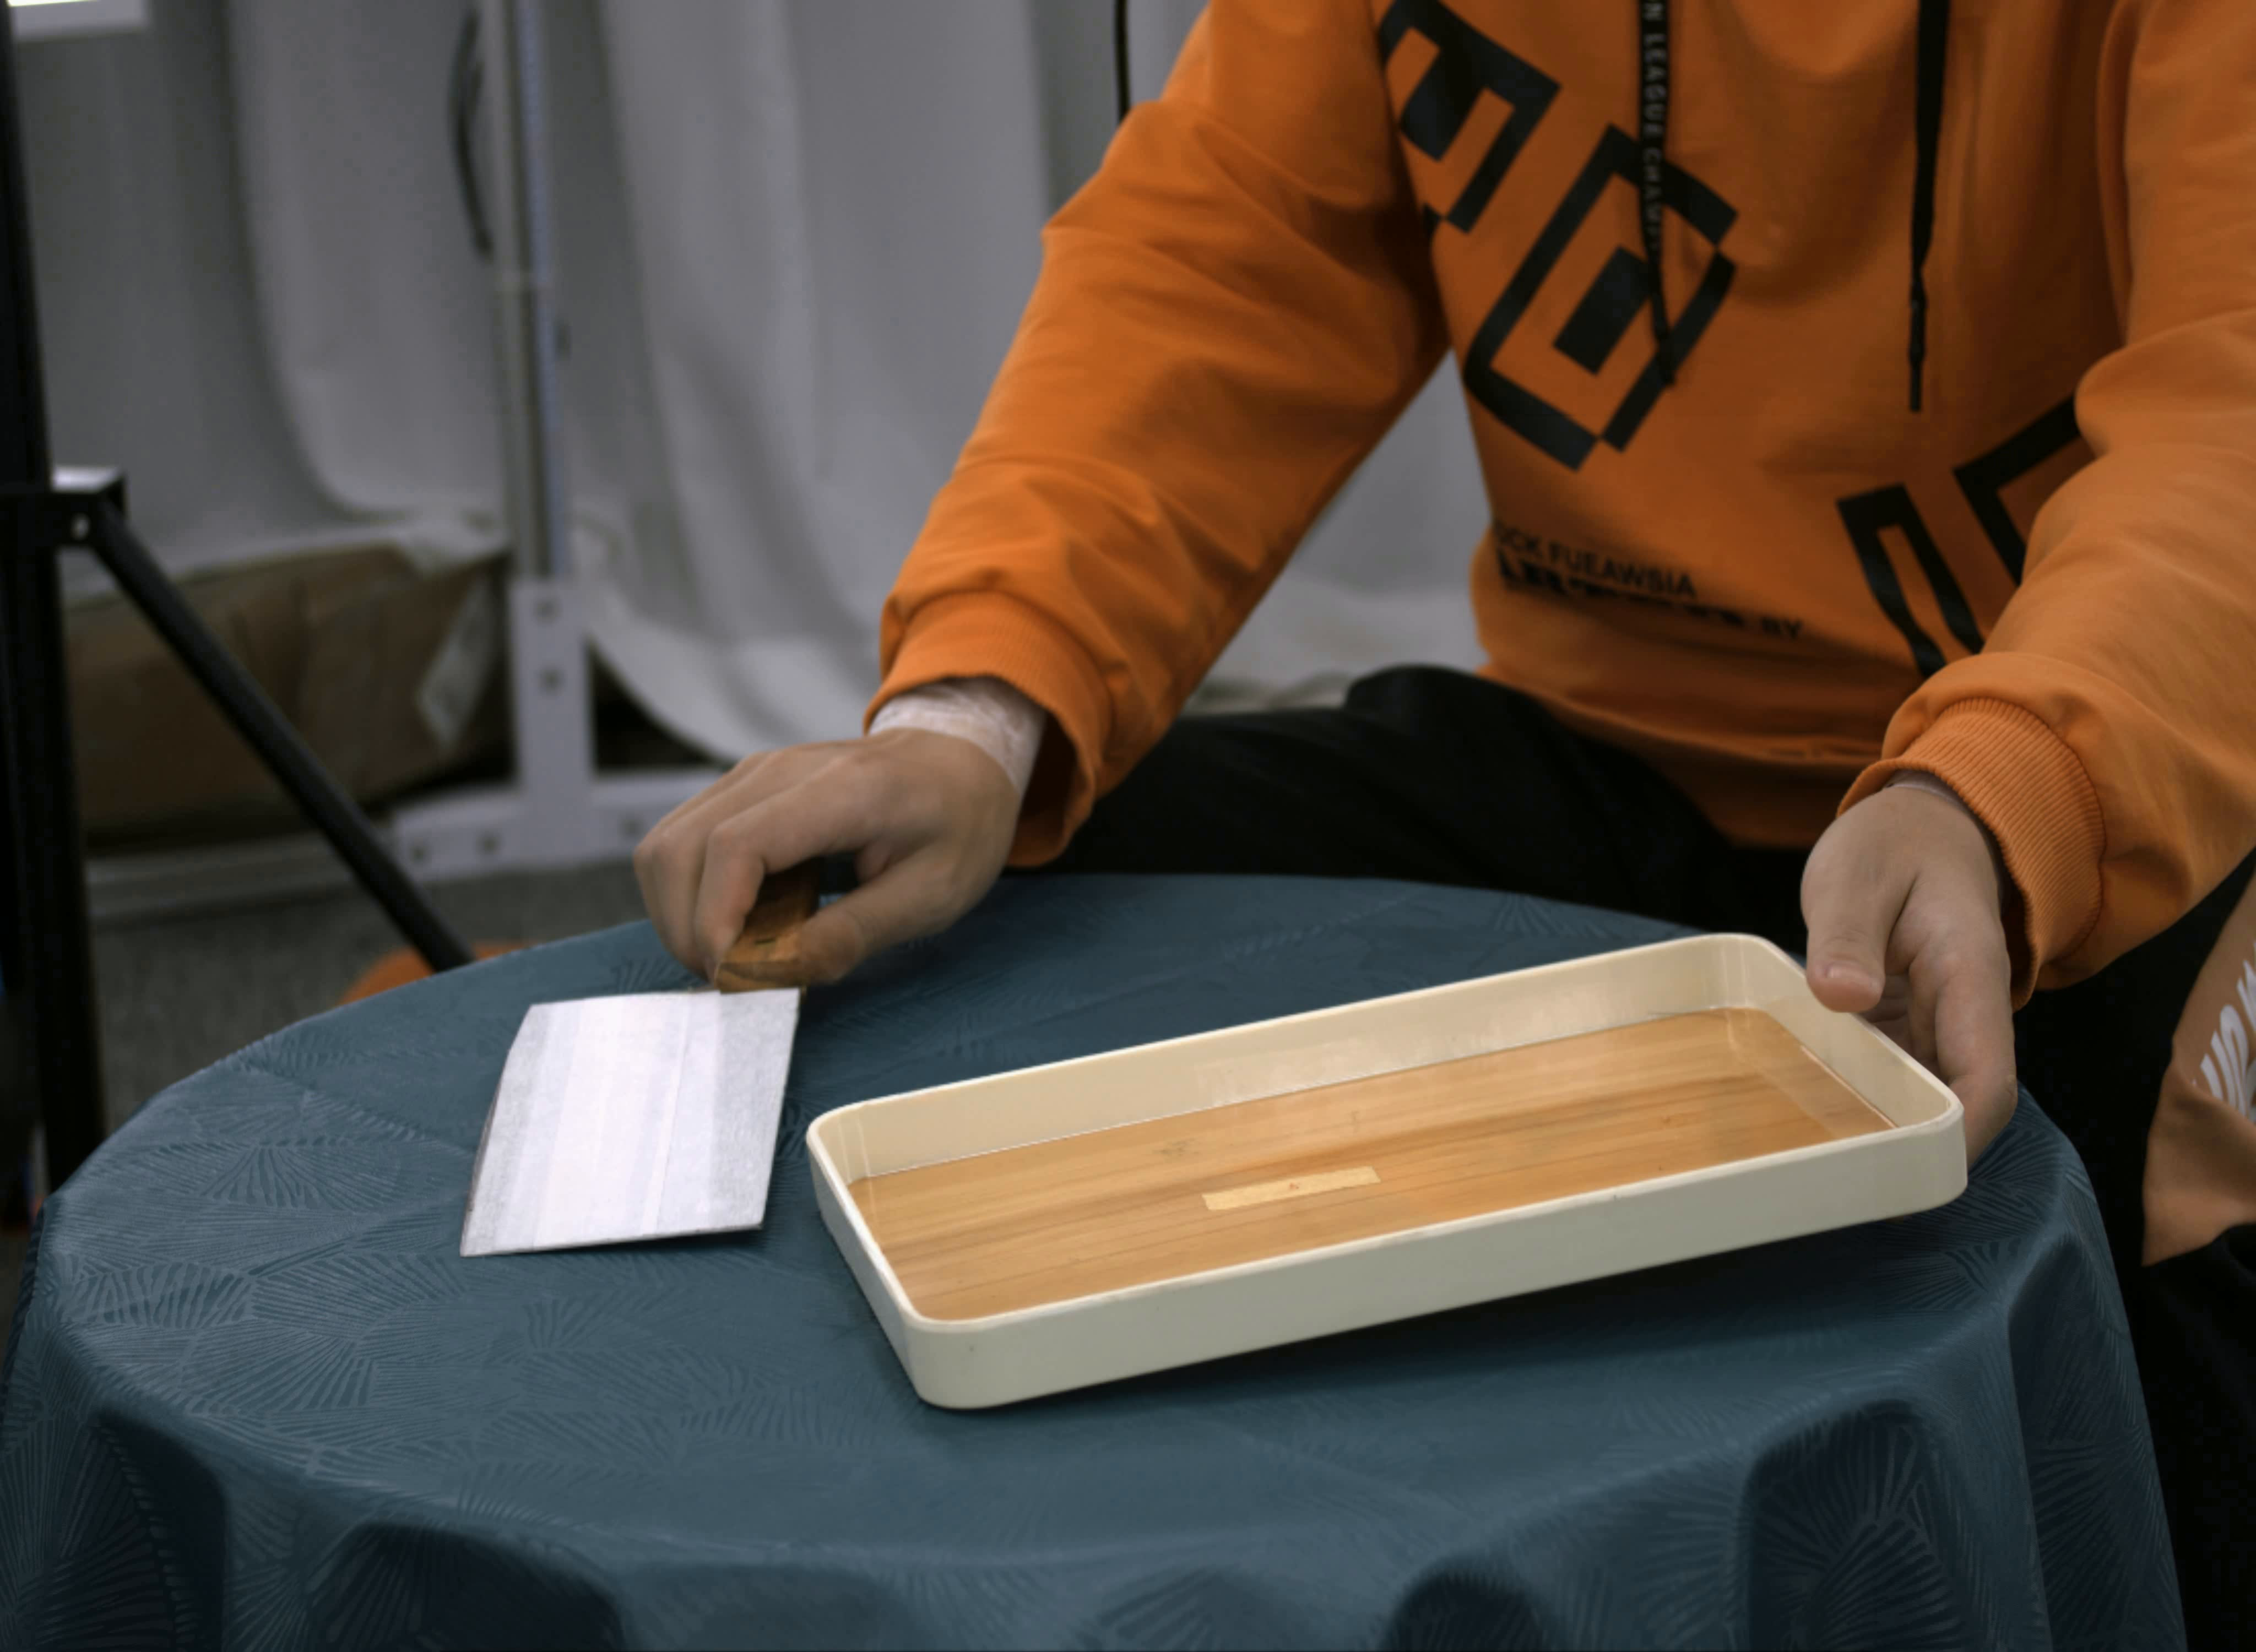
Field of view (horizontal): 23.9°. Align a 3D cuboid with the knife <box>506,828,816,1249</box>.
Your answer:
[{"bbox_3d":[-0.146,0.065,1.674,0.093,0.021,0.307,-8,20,3],"label":"knife"}]

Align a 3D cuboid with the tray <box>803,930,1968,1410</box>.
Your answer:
[{"bbox_3d":[0.069,0.094,1.498,0.297,0.027,0.194,-11,17,-9],"label":"tray"}]
